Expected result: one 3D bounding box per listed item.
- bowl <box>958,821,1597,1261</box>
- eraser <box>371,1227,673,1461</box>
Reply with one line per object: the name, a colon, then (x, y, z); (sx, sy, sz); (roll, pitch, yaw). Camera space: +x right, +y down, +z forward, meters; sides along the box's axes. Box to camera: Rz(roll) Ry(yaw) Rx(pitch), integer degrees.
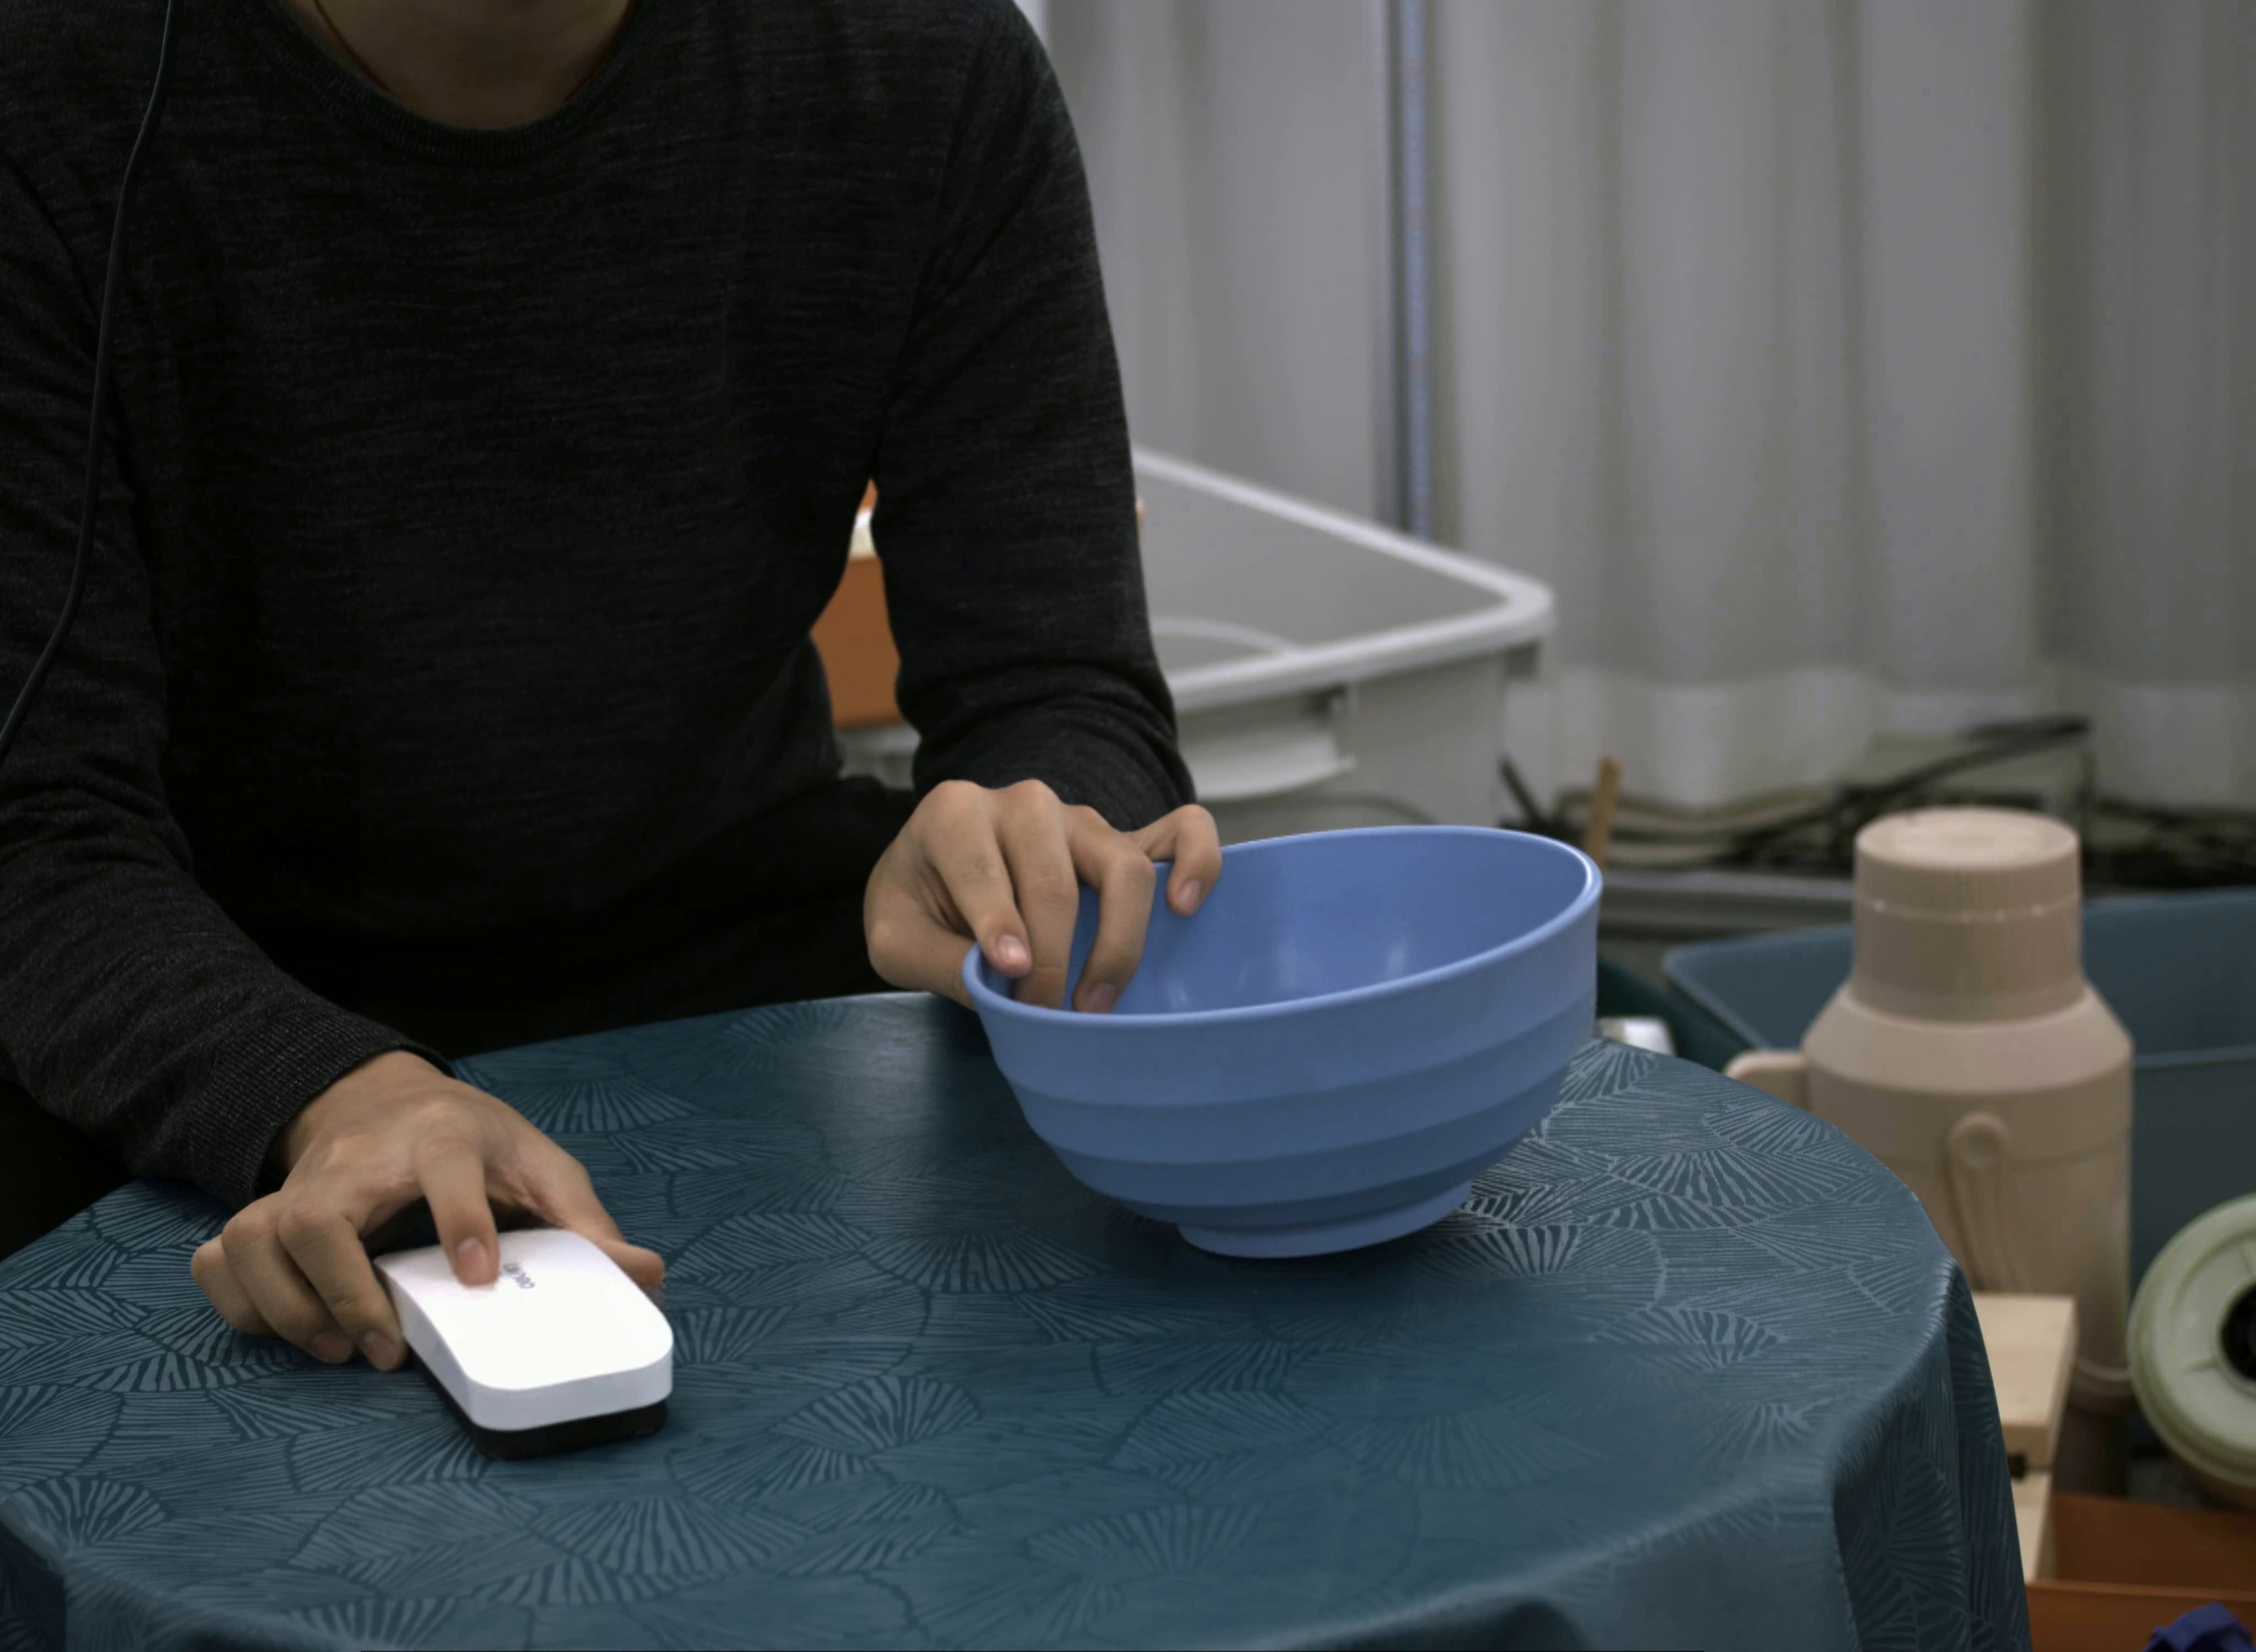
bowl: (0.052, 0.072, 1.664); (0.196, 0.095, 0.198); (-10, 14, 2)
eraser: (-0.174, 0.145, 1.575); (0.063, 0.034, 0.132); (-8, 16, -20)
